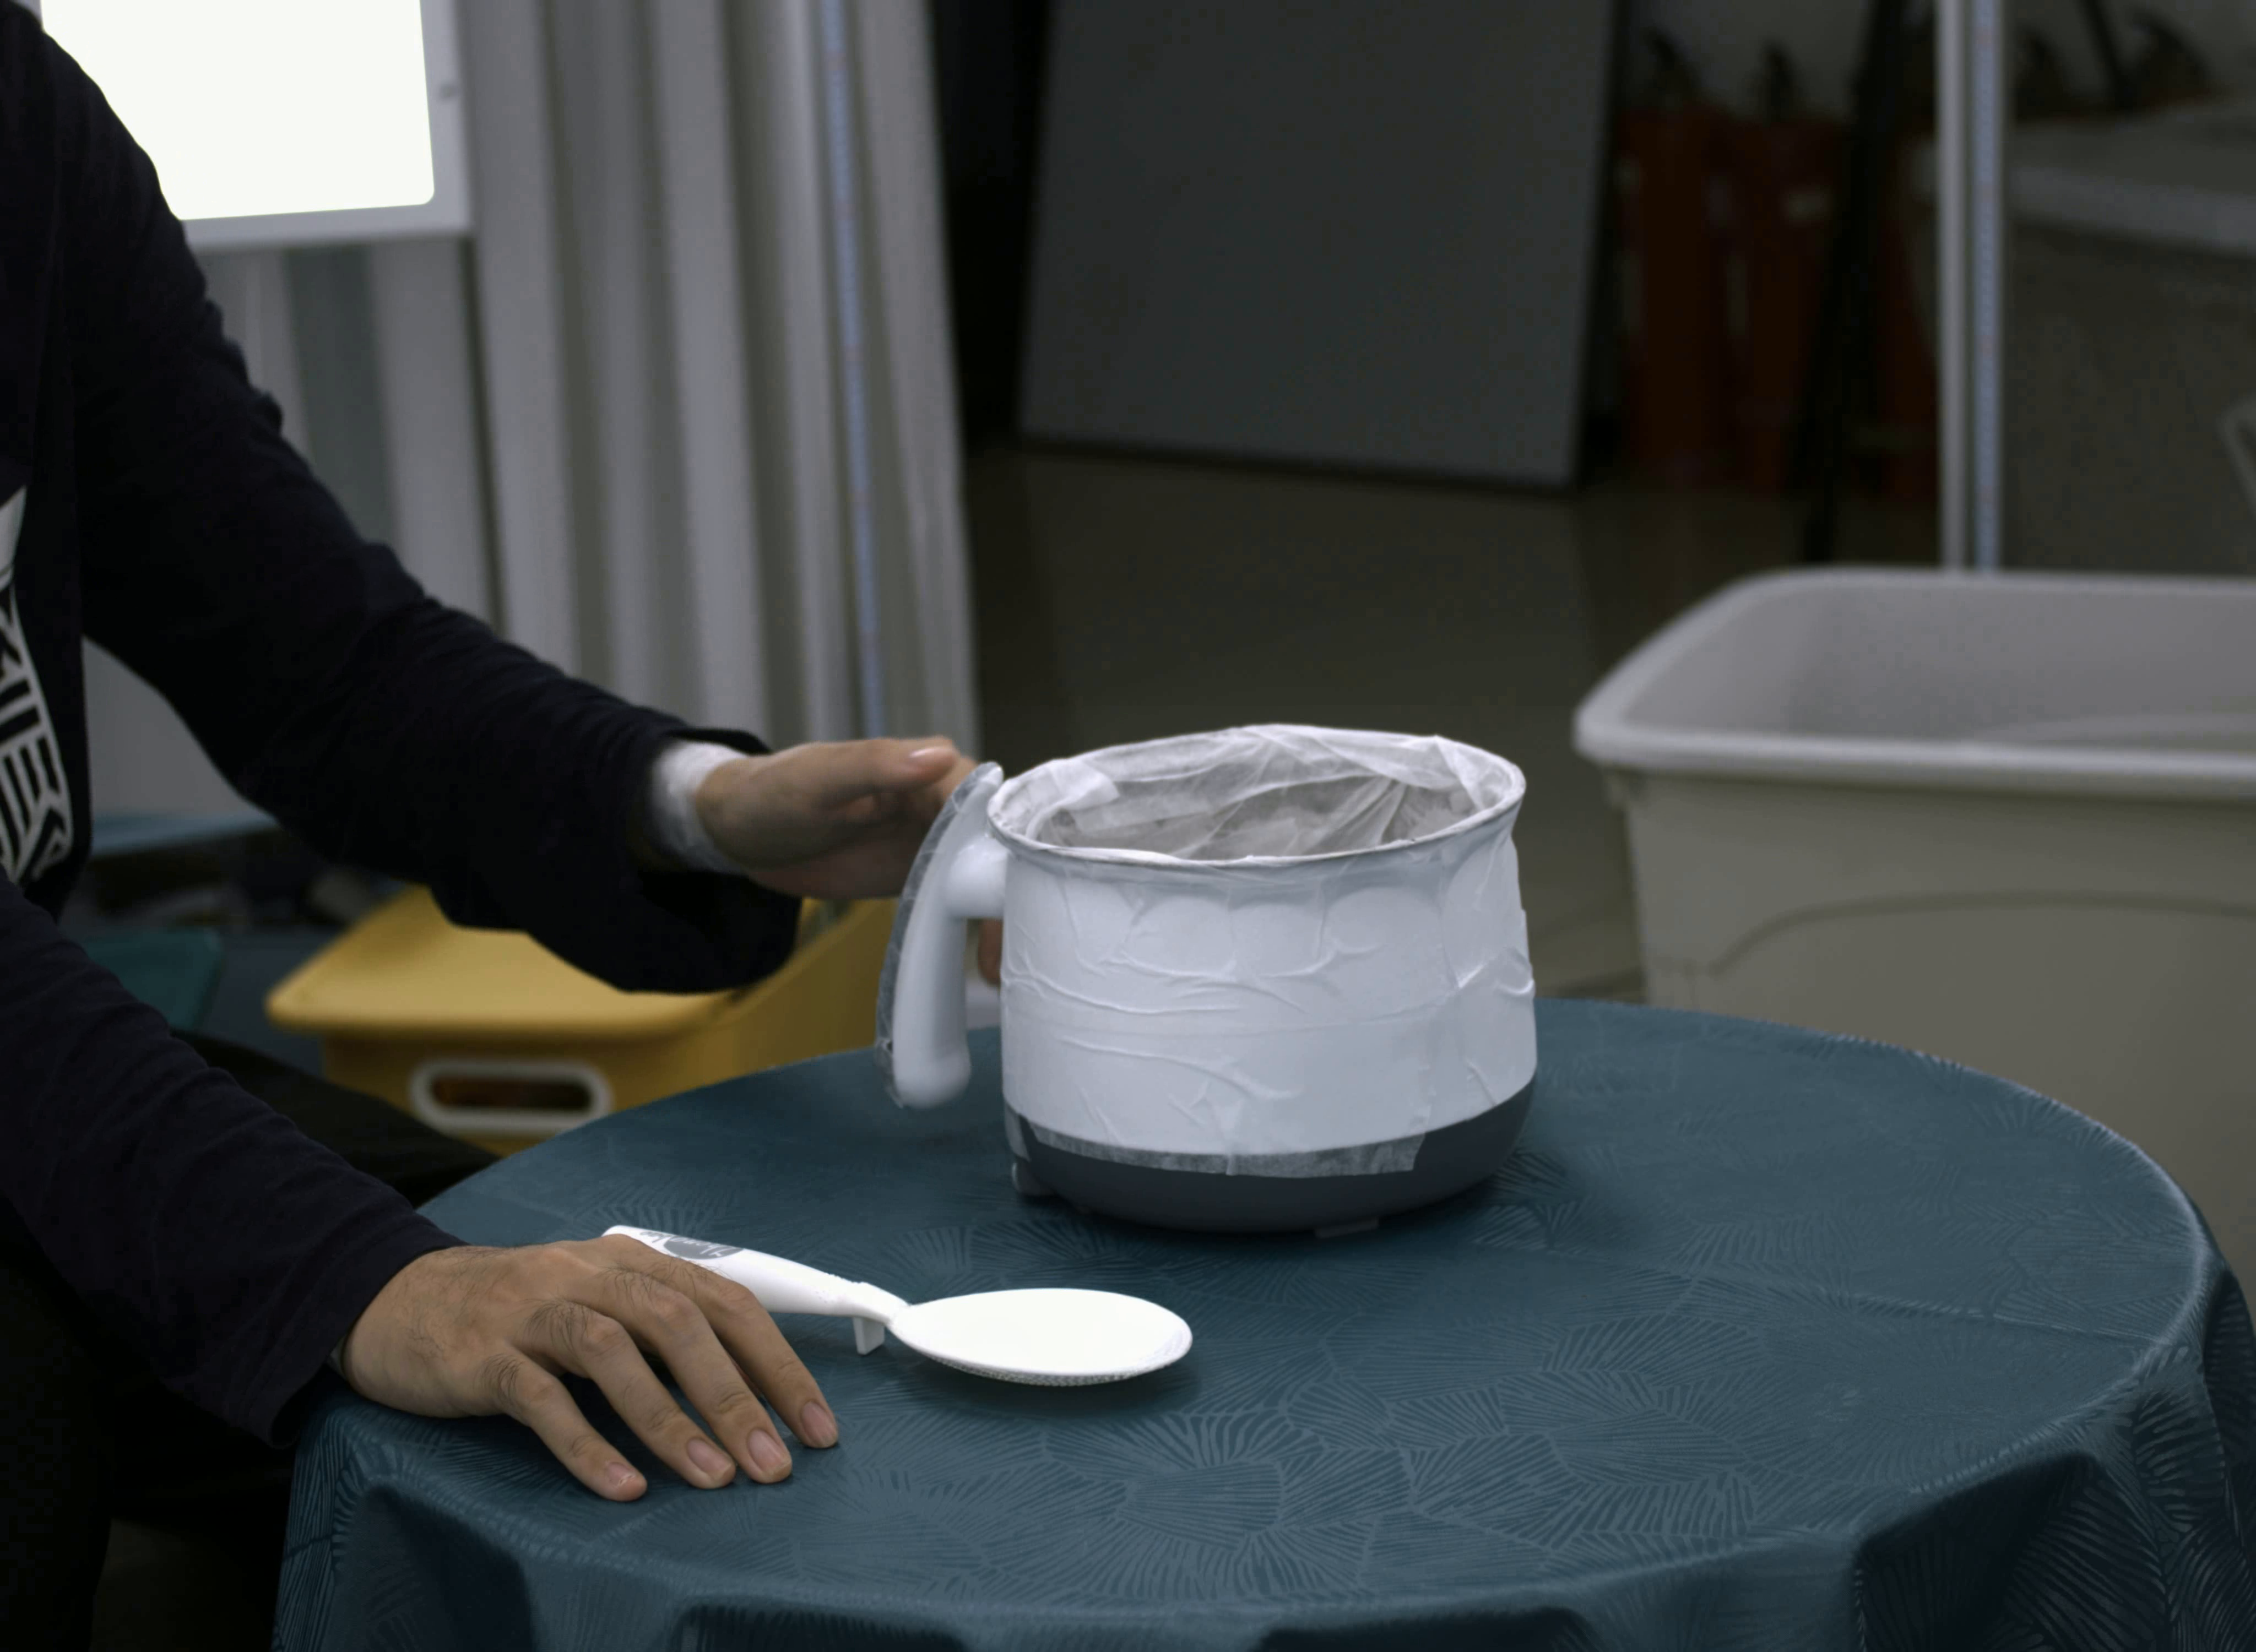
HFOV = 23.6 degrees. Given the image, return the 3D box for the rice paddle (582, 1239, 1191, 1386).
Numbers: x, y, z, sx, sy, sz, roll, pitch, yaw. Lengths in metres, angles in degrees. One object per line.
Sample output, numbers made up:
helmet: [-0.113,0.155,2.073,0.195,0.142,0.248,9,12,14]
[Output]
rice paddle: [-0.073,0.147,1.631,0.206,0.030,0.068,3,17,30]

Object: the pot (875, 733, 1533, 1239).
pot: [0.020,0.049,1.775,0.234,0.138,0.176,3,13,26]
